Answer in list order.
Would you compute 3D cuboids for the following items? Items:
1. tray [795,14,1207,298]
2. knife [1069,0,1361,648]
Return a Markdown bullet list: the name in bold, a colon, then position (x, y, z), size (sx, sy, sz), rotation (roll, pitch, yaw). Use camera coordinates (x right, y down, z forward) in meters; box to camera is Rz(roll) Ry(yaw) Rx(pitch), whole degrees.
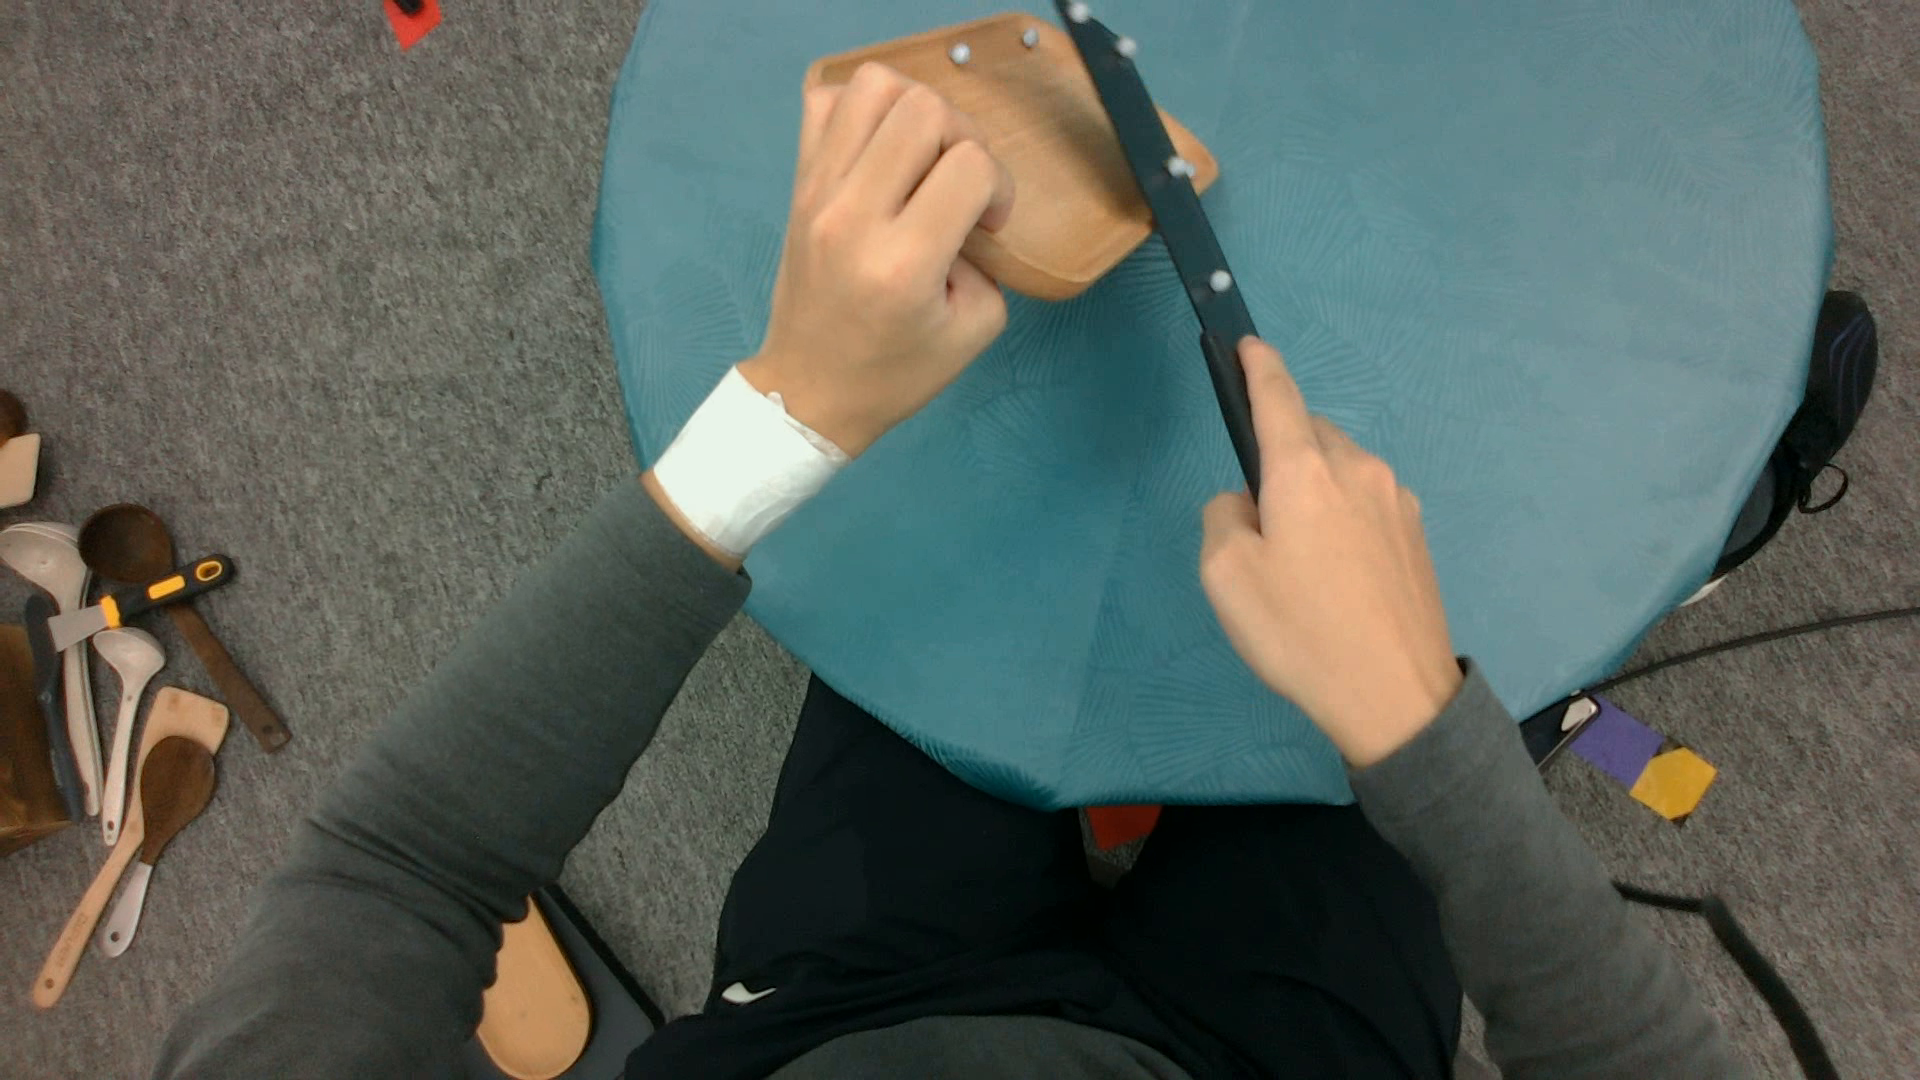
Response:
- **tray**: position (0.029, -0.170, 0.583), size (0.130, 0.252, 0.023), rotation (37, 124, 5)
- **knife**: position (0.104, -0.098, 0.571), size (0.021, 0.081, 0.303), rotation (-28, 65, 28)
